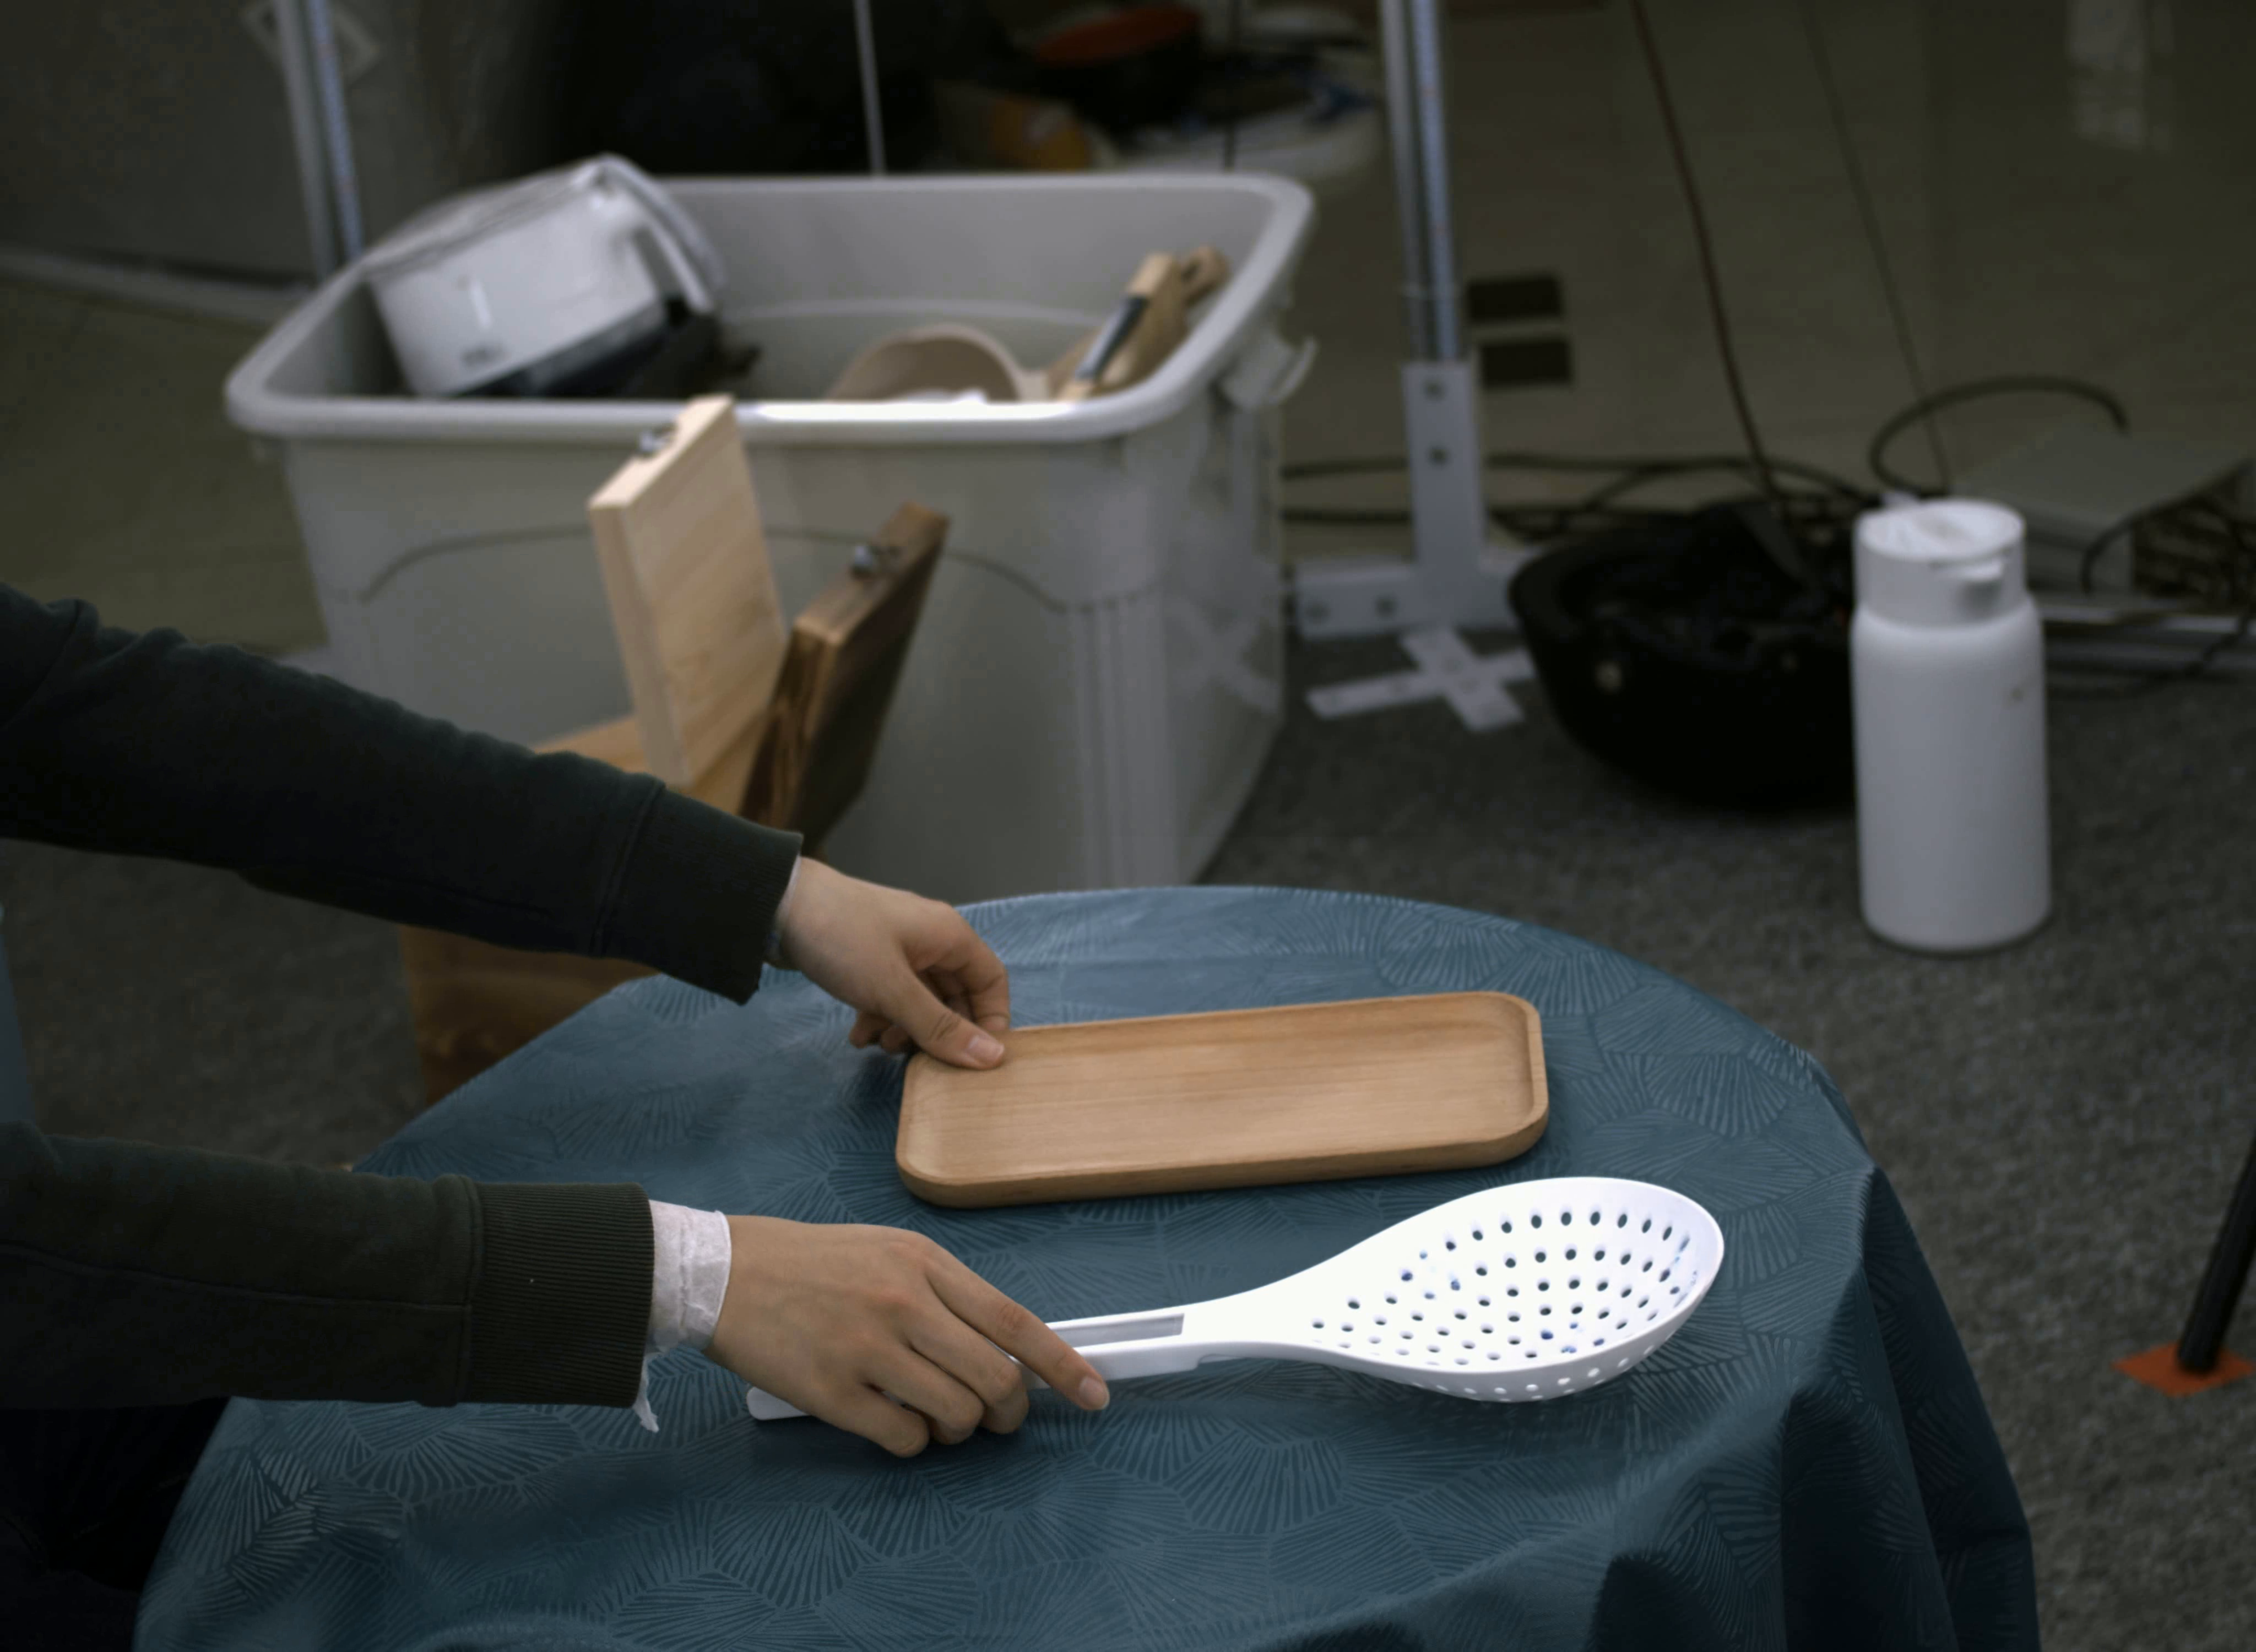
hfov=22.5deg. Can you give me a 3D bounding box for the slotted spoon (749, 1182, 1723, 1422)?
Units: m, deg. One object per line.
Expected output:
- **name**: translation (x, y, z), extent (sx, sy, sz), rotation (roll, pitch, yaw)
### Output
- **slotted spoon**: translation (0.036, 0.179, 2.005), extent (0.349, 0.046, 0.134), rotation (-4, 23, 8)

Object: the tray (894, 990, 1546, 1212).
- **tray**: translation (0.036, 0.107, 2.194), extent (0.250, 0.023, 0.129), rotation (-5, 23, 4)
